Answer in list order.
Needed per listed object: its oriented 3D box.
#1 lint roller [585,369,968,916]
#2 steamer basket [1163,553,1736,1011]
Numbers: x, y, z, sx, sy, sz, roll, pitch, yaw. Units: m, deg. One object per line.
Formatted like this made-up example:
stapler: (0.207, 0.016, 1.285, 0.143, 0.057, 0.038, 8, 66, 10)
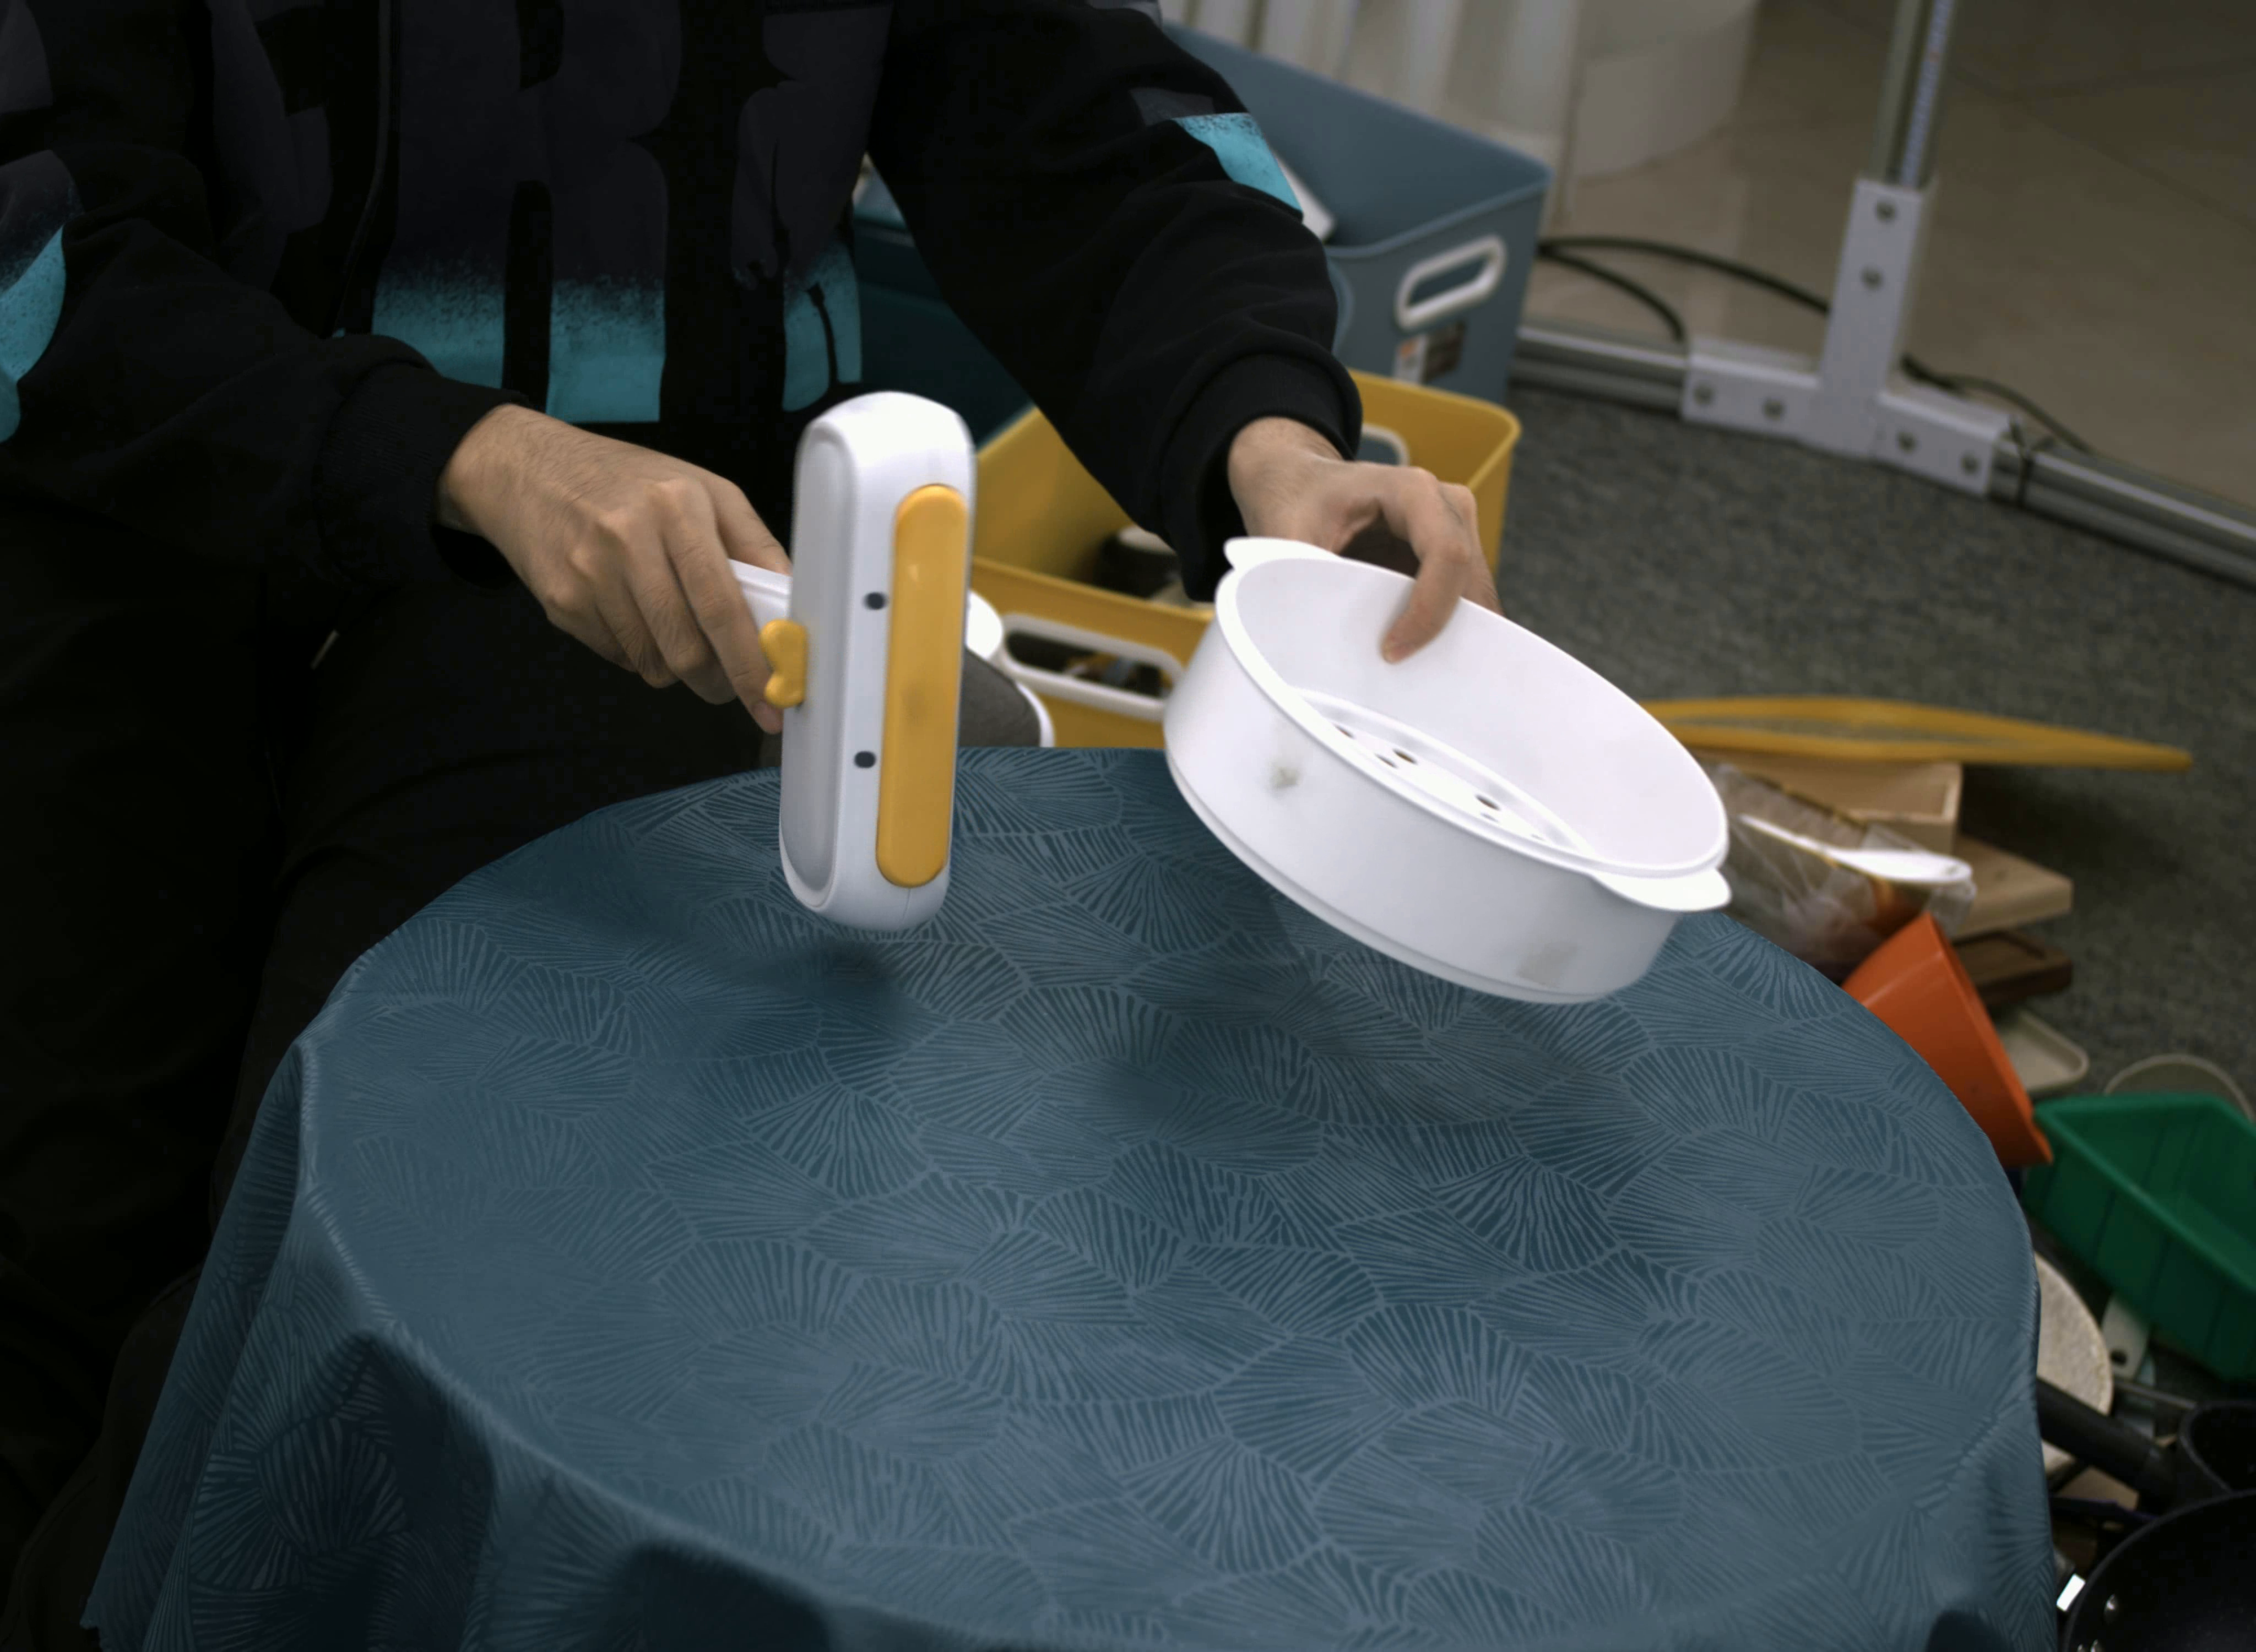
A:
lint roller: (-0.127, -0.074, 1.926, 0.073, 0.193, 0.194, -9, 16, -33)
steamer basket: (0.108, -0.012, 1.862, 0.200, 0.069, 0.232, 1, 32, -49)
